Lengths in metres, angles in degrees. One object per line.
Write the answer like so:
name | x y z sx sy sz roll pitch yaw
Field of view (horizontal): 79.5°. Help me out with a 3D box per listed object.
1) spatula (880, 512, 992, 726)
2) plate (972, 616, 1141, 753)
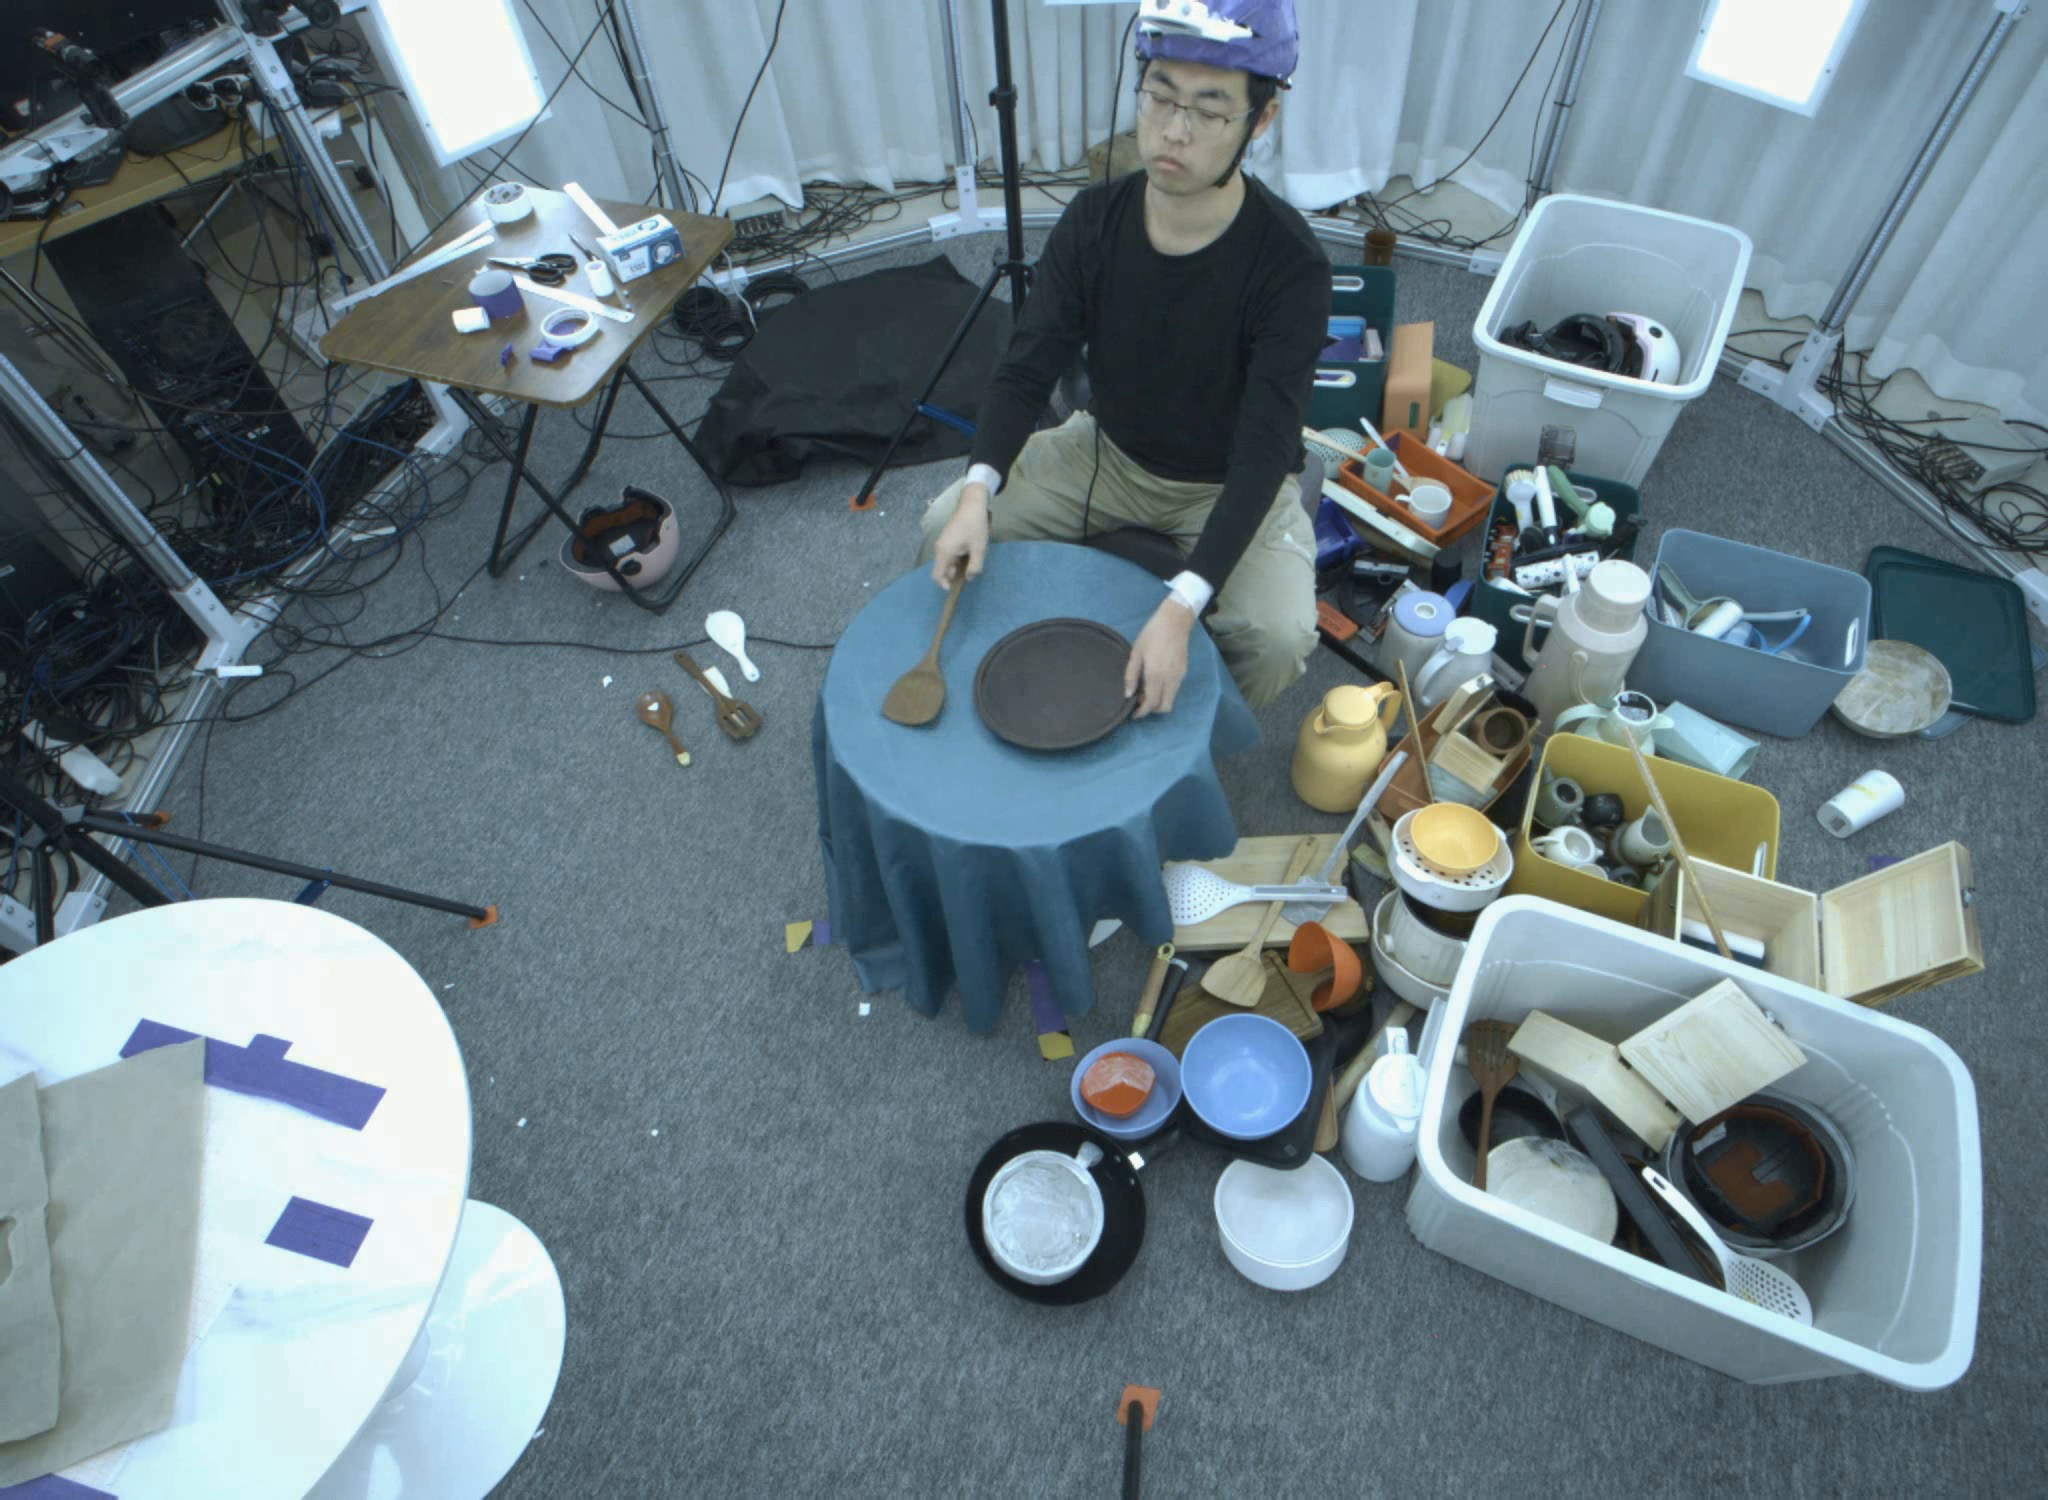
spatula | -0.119 -0.209 1.881 0.094 0.016 0.385 11 70 21
plate | 0.049 -0.099 1.833 0.254 0.029 0.252 -4 54 6
